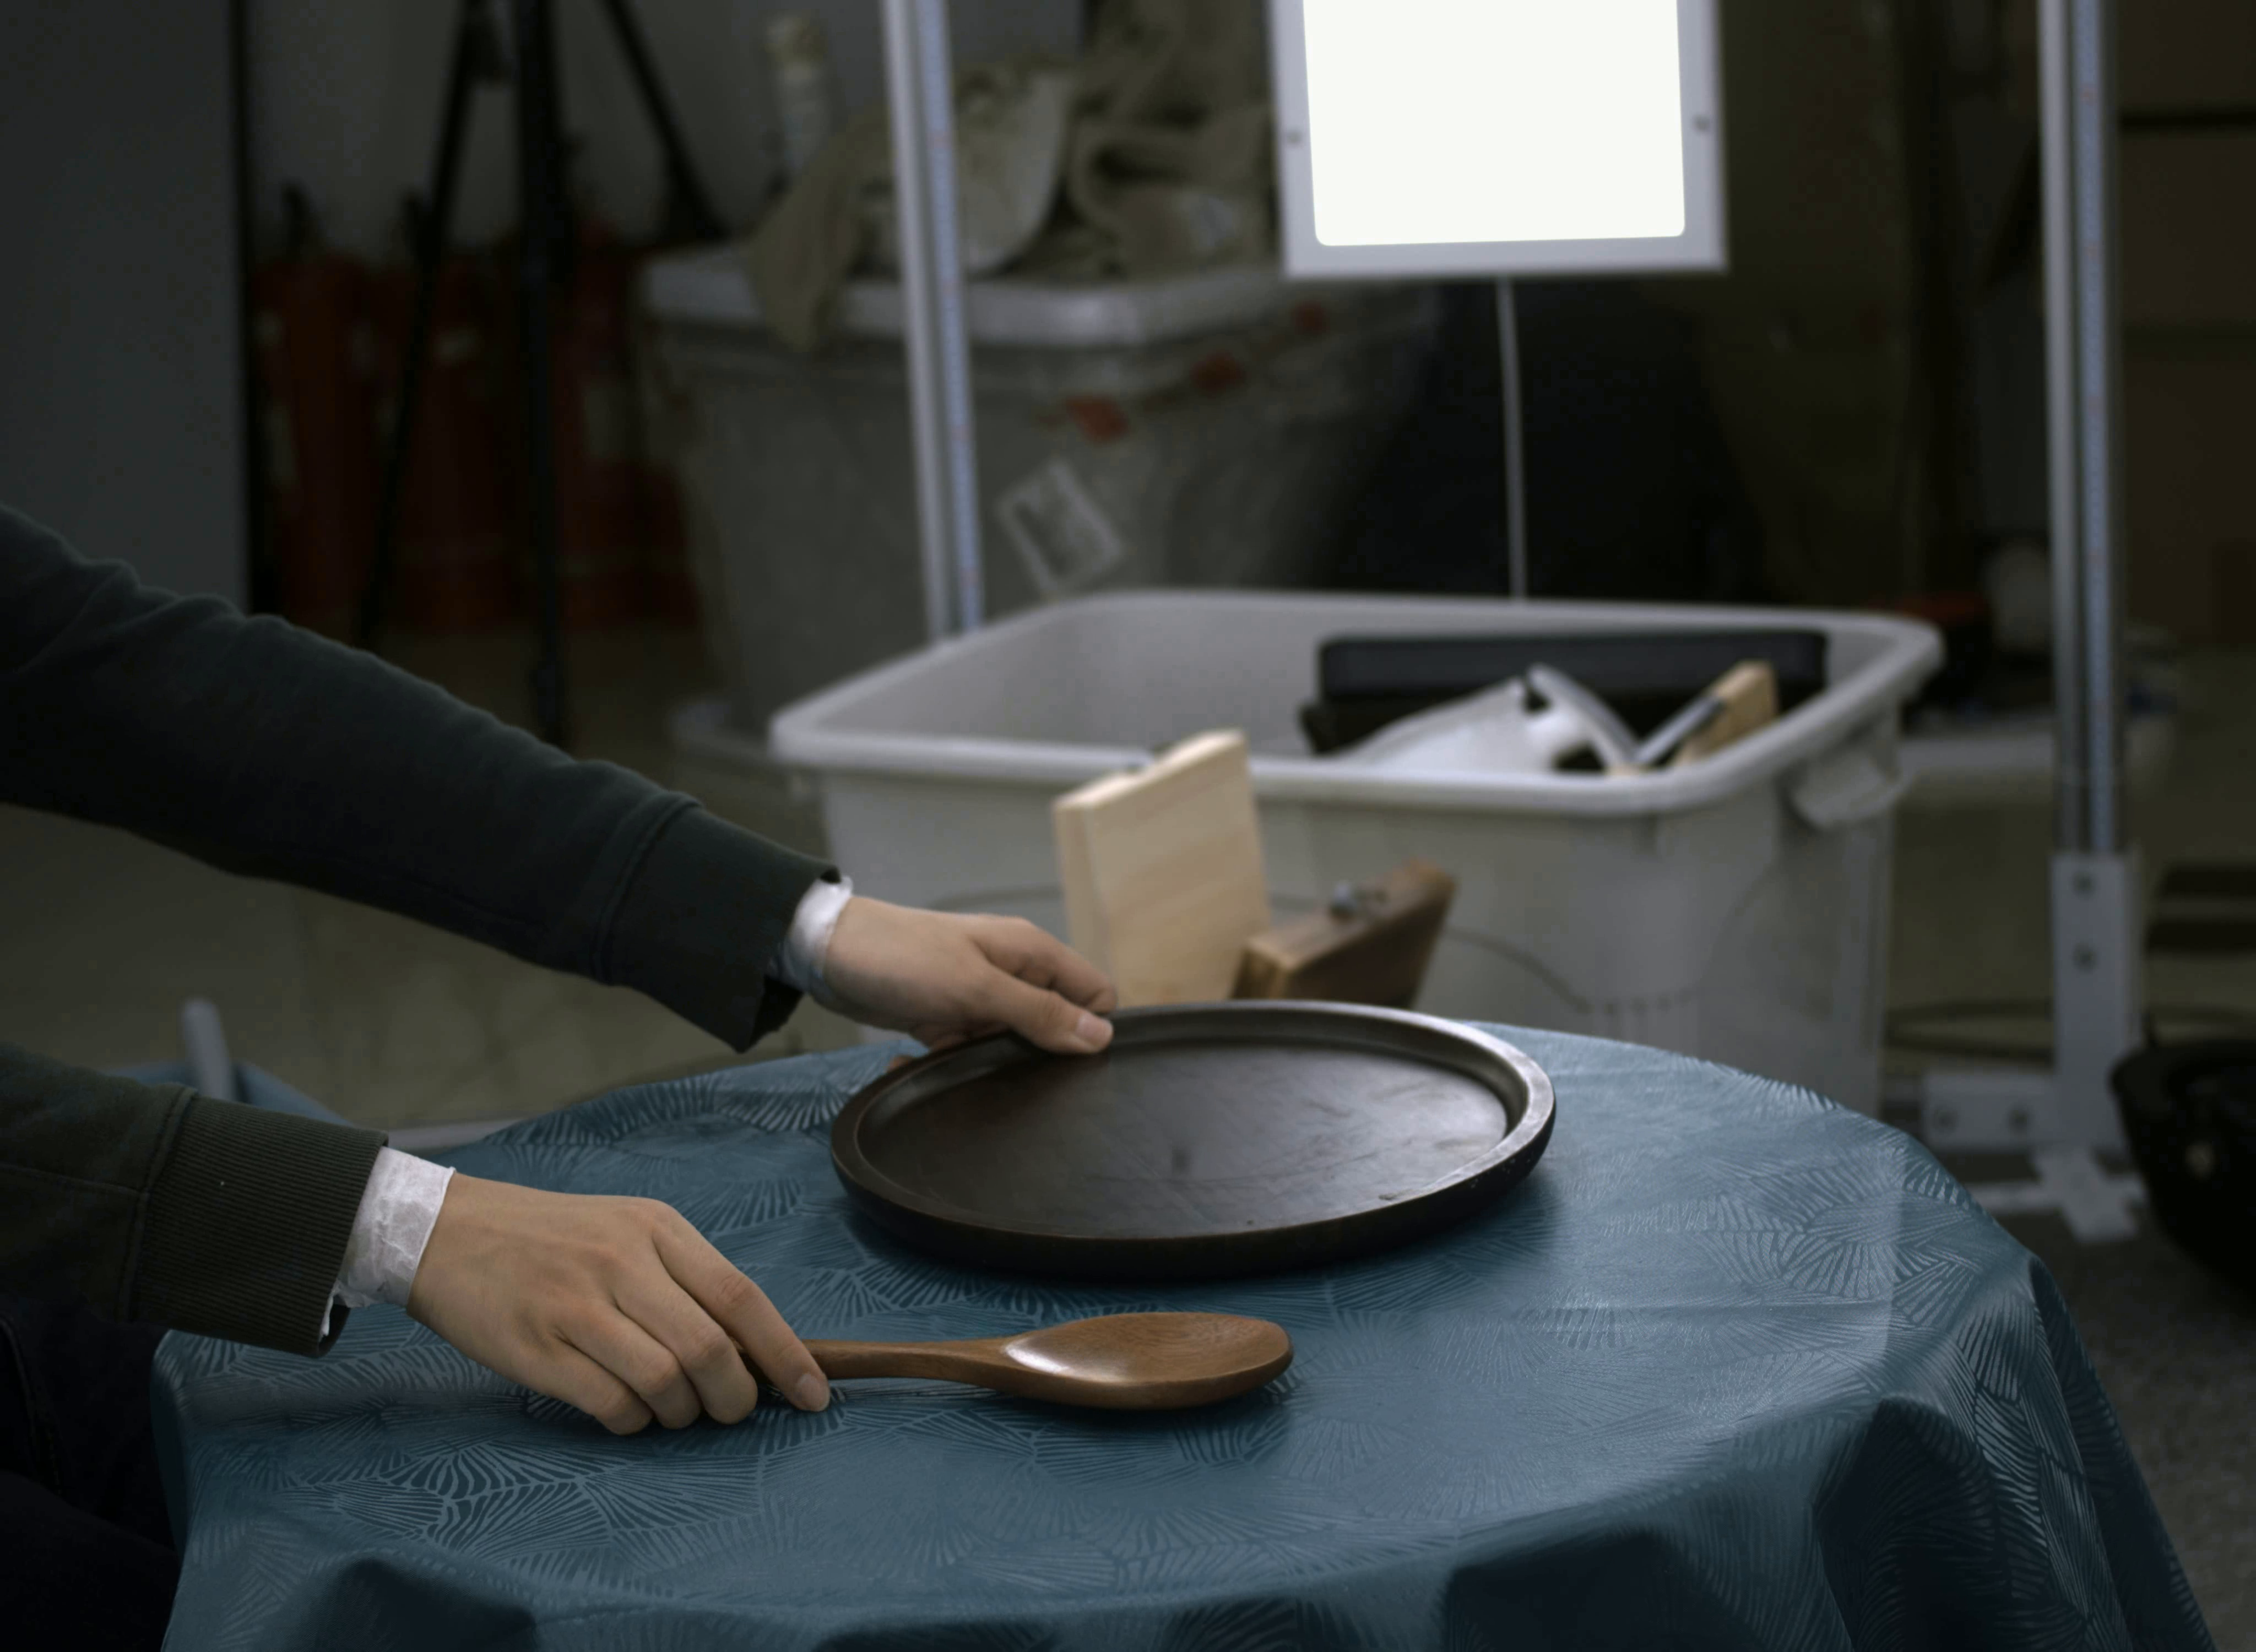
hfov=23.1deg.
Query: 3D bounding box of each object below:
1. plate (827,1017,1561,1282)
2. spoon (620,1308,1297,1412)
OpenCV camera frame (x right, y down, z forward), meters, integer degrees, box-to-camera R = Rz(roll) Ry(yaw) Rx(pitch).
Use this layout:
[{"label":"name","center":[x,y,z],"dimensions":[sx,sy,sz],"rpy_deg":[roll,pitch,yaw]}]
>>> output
[{"label":"plate","center":[0.024,0.109,1.903],"dimensions":[0.254,0.029,0.254],"rpy_deg":[-3,15,0]},{"label":"spoon","center":[-0.053,0.167,1.712],"dimensions":[0.218,0.017,0.074],"rpy_deg":[0,13,14]}]
